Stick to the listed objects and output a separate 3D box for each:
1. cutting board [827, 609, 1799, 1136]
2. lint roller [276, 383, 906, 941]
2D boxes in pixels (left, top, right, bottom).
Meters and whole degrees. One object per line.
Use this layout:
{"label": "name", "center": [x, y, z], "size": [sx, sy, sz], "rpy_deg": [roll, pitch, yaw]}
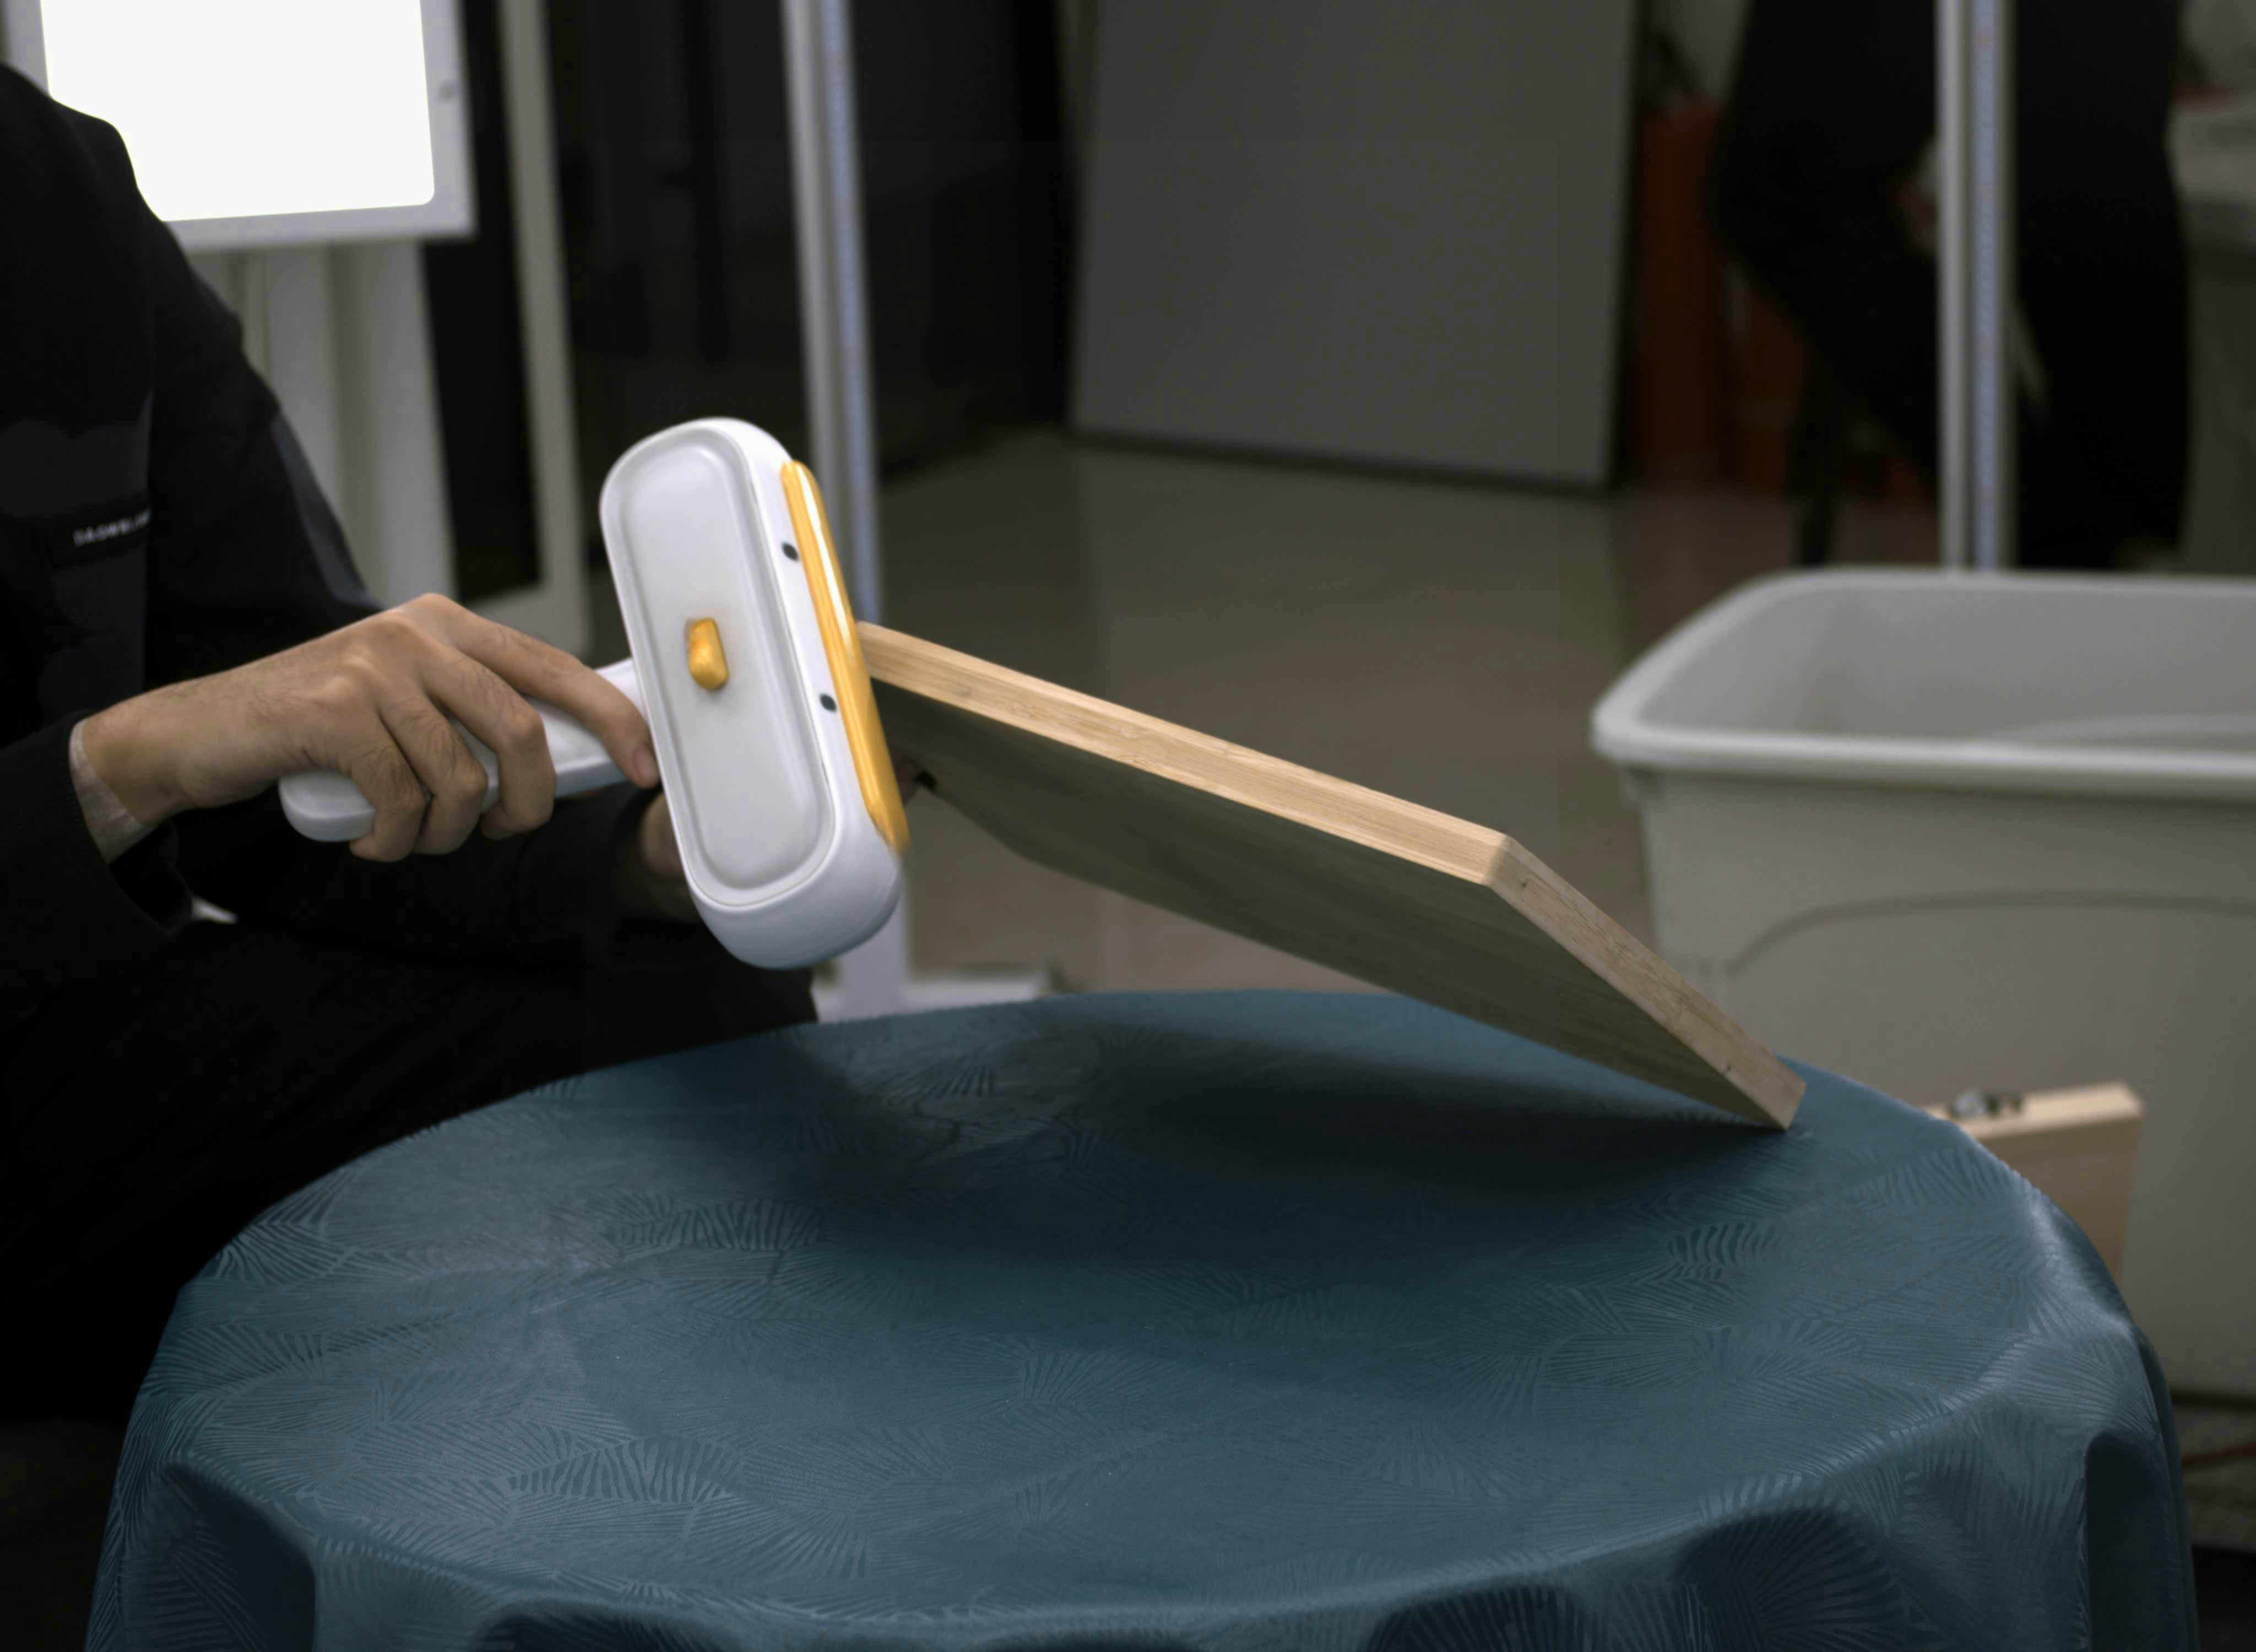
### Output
{"label": "cutting board", "center": [0.033, 0.007, 1.802], "size": [0.351, 0.024, 0.247], "rpy_deg": [19, -12, 37]}
{"label": "lint roller", "center": [-0.180, -0.034, 1.744], "size": [0.191, 0.195, 0.073], "rpy_deg": [-23, -23, 6]}
